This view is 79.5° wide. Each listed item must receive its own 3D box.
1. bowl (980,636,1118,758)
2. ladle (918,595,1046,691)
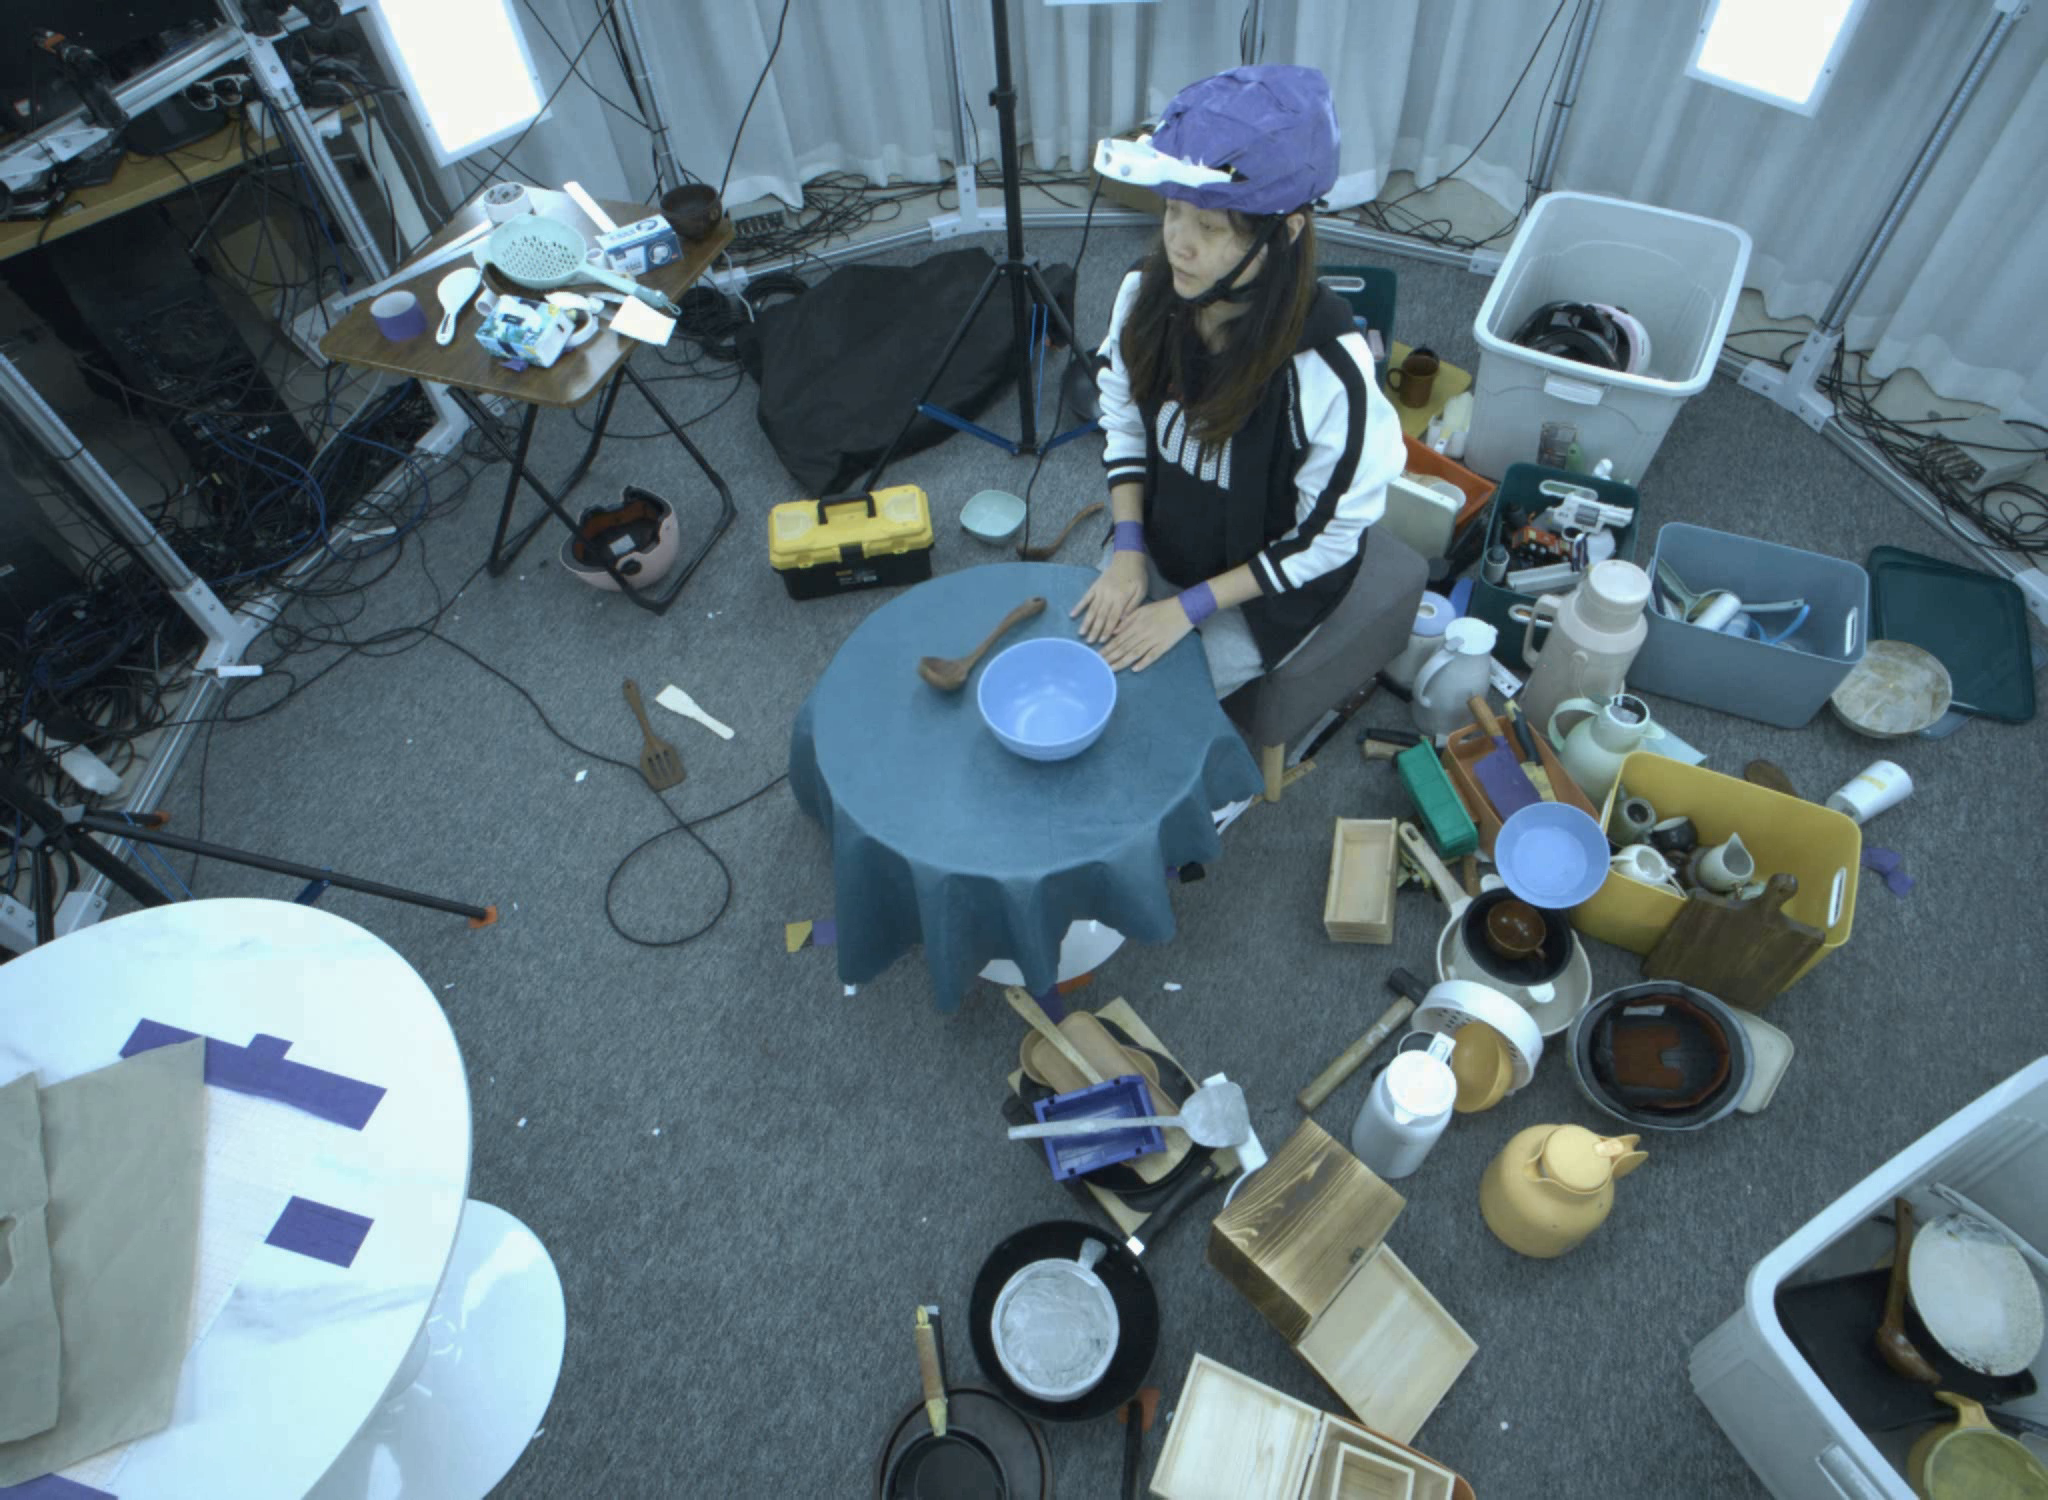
[{"bbox_3d":[0.042,-0.061,1.771,0.195,0.097,0.194,-4,54,7],"label":"bowl"},{"bbox_3d":[-0.057,-0.175,1.875,0.075,0.065,0.262,39,65,19],"label":"ladle"}]
